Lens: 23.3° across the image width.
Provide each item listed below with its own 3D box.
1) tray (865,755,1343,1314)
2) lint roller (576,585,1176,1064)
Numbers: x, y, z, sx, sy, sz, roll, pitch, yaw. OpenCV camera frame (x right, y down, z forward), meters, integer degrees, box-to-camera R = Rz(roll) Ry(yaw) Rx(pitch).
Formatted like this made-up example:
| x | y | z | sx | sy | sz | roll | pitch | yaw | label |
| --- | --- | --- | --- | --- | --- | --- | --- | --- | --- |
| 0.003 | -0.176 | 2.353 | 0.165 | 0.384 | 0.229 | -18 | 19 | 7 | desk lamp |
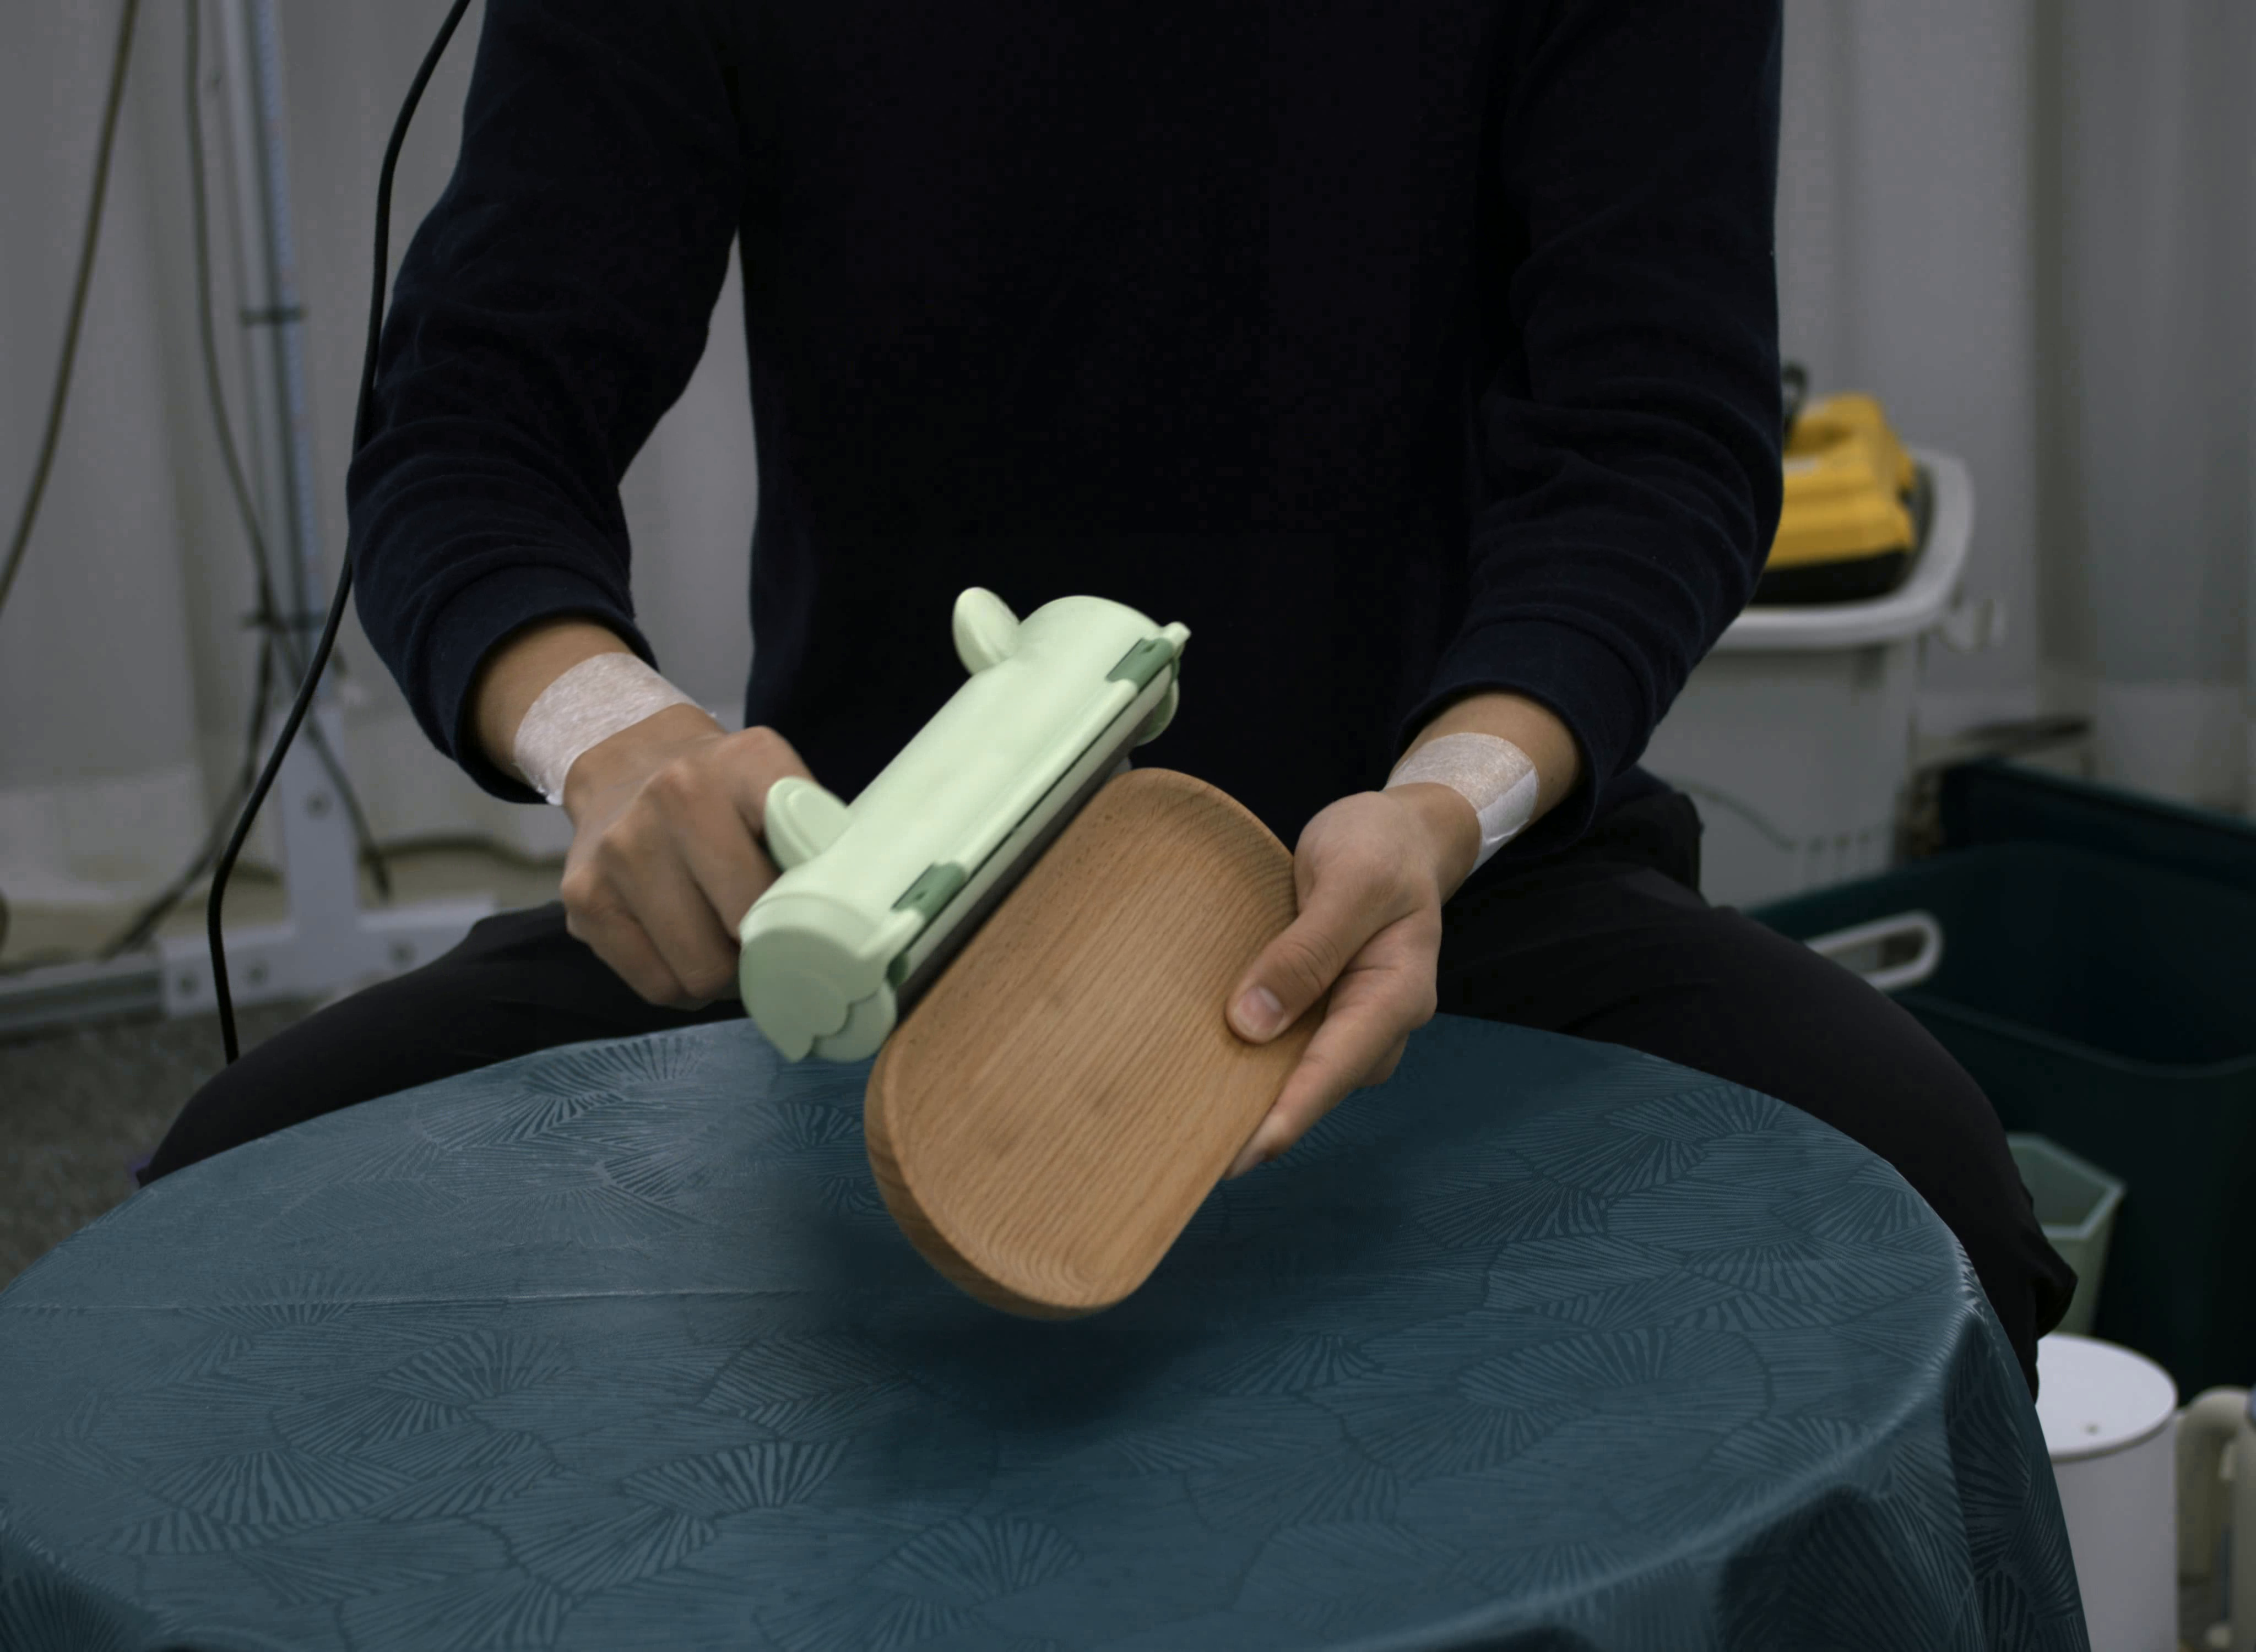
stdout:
| x | y | z | sx | sy | sz | roll | pitch | yaw | label |
| --- | --- | --- | --- | --- | --- | --- | --- | --- | --- |
| -0.005 | 0.058 | 1.586 | 0.020 | 0.101 | 0.233 | -40 | 7 | 37 | tray |
| -0.100 | -0.003 | 1.627 | 0.183 | 0.081 | 0.200 | -5 | 27 | 32 | lint roller |
